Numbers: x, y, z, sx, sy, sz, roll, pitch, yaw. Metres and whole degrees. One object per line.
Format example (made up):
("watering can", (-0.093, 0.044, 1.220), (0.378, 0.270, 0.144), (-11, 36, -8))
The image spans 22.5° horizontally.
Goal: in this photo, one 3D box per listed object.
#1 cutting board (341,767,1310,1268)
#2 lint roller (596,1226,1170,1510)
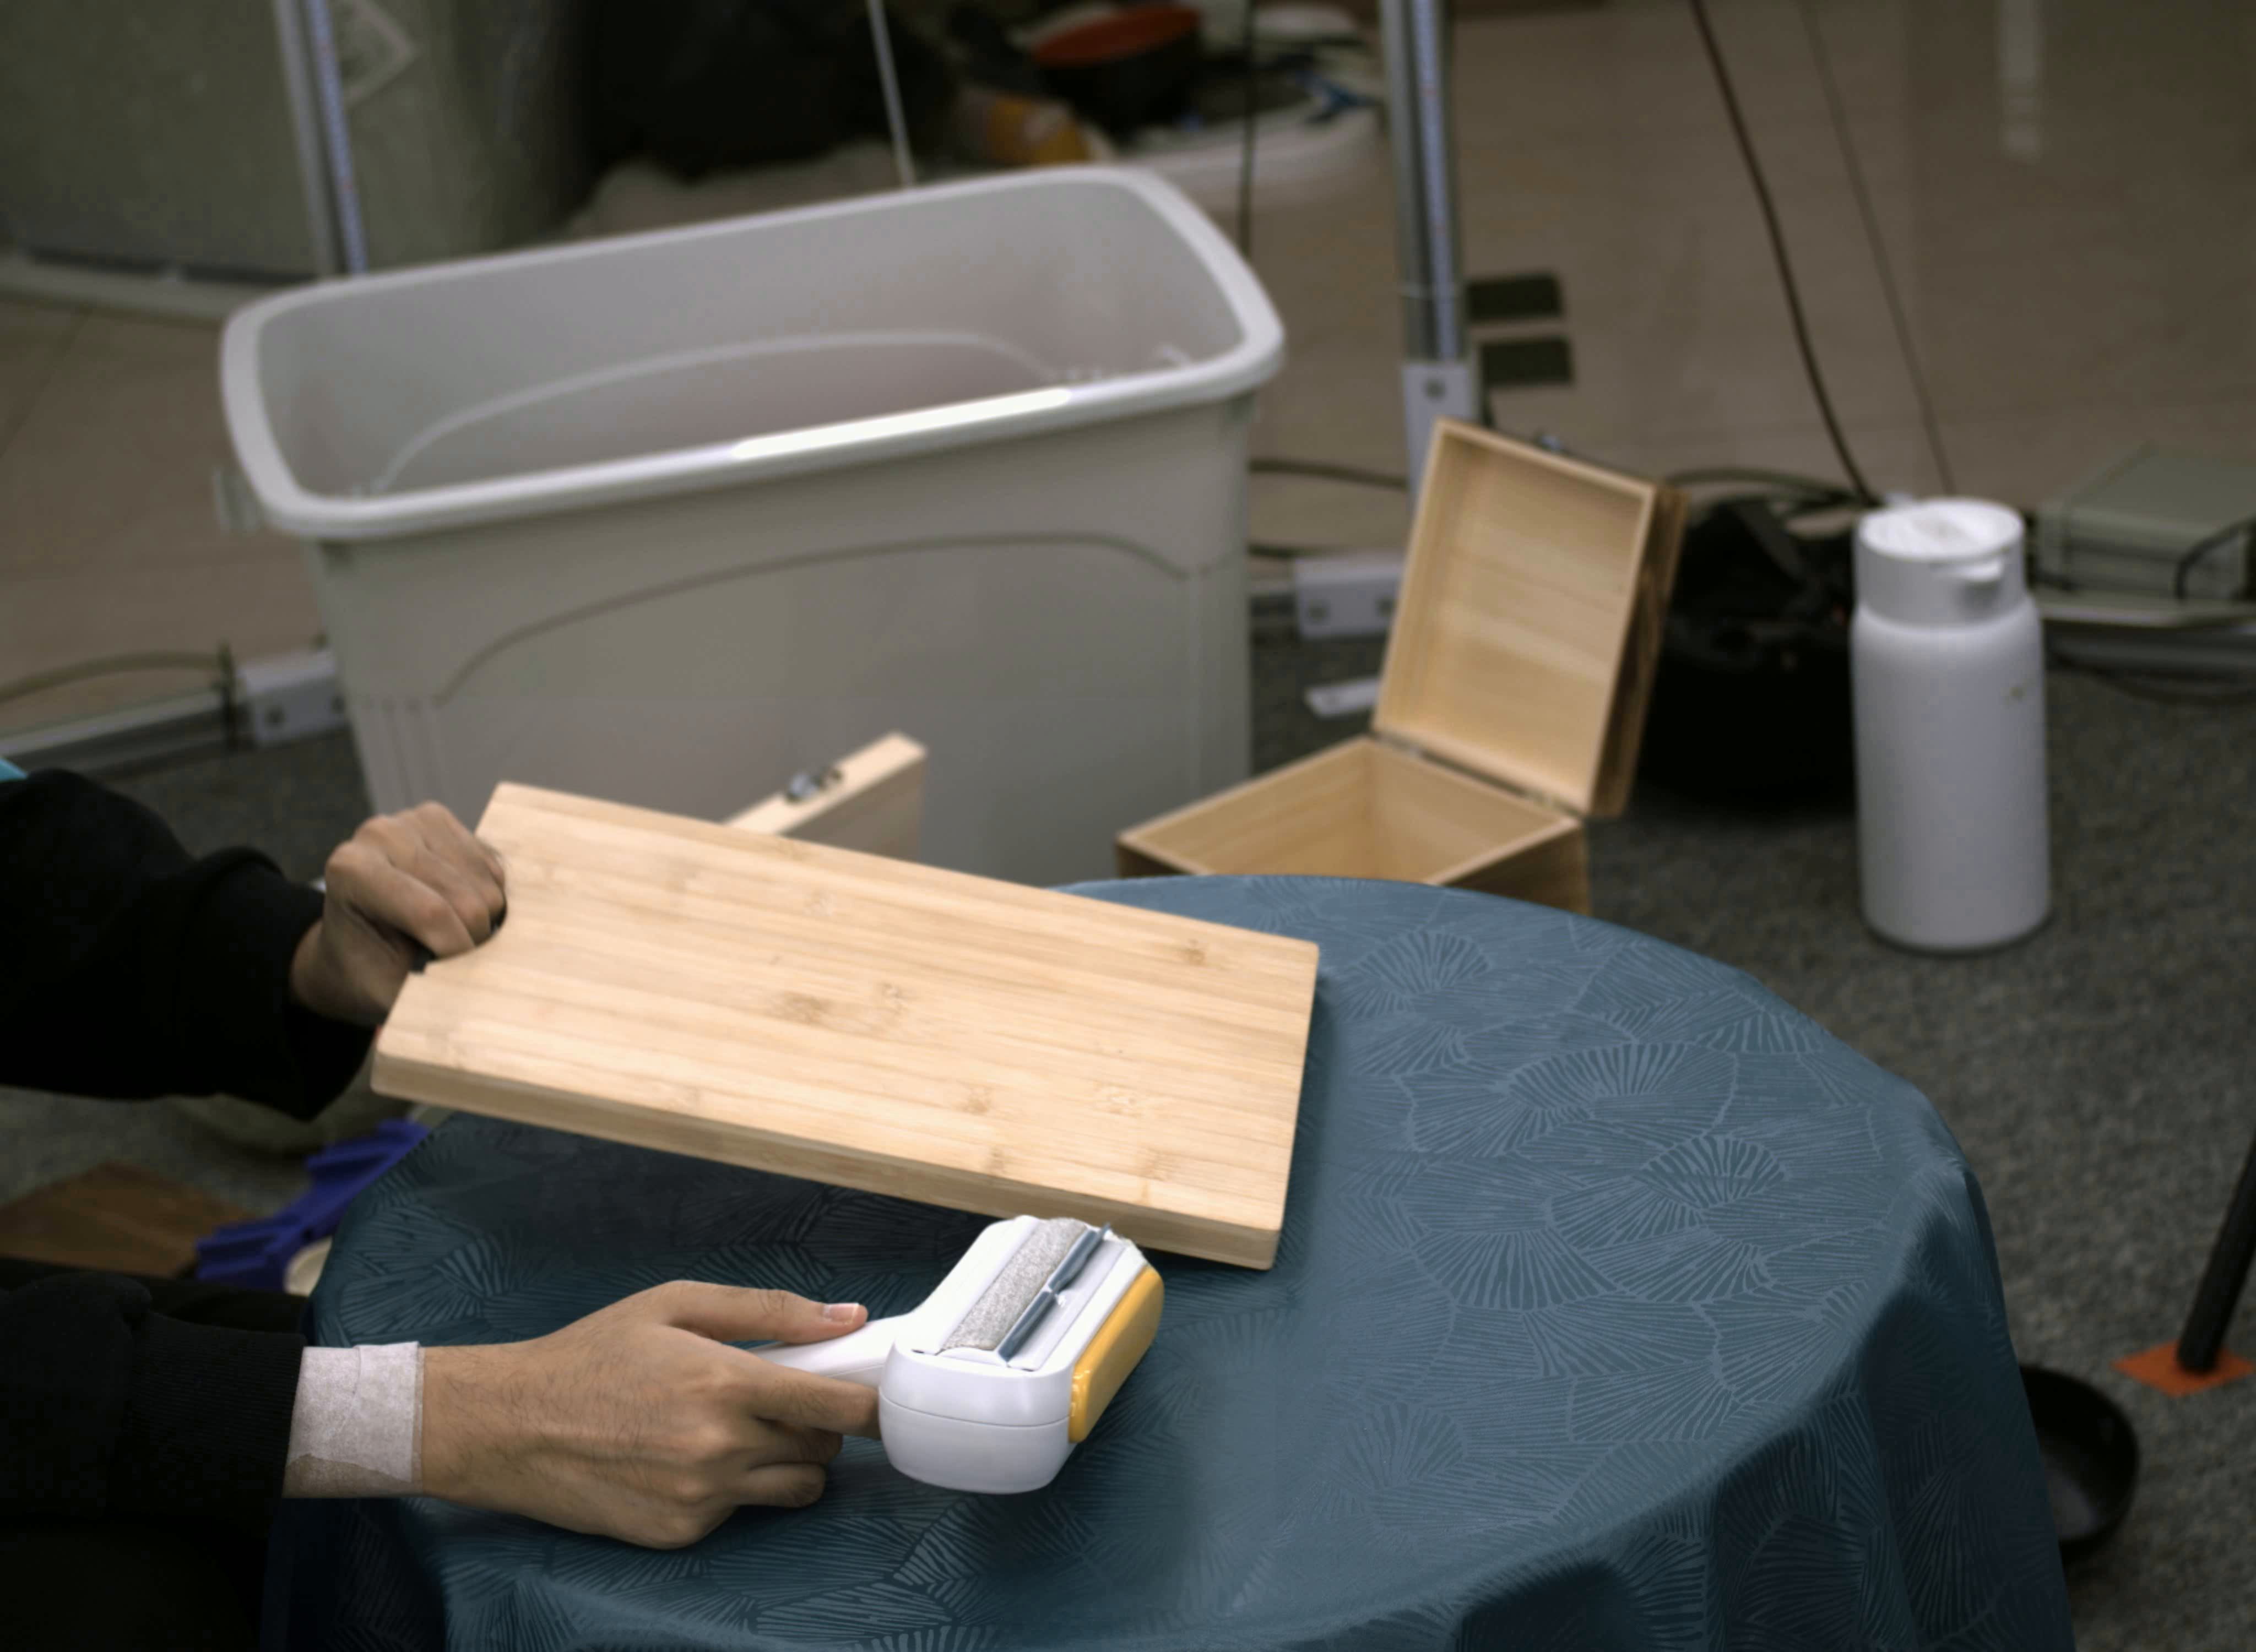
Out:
("cutting board", (-0.108, 0.070, 2.182), (0.348, 0.024, 0.247), (12, 26, 0))
("lint roller", (-0.095, 0.189, 1.966), (0.192, 0.075, 0.191), (1, 16, 16))
